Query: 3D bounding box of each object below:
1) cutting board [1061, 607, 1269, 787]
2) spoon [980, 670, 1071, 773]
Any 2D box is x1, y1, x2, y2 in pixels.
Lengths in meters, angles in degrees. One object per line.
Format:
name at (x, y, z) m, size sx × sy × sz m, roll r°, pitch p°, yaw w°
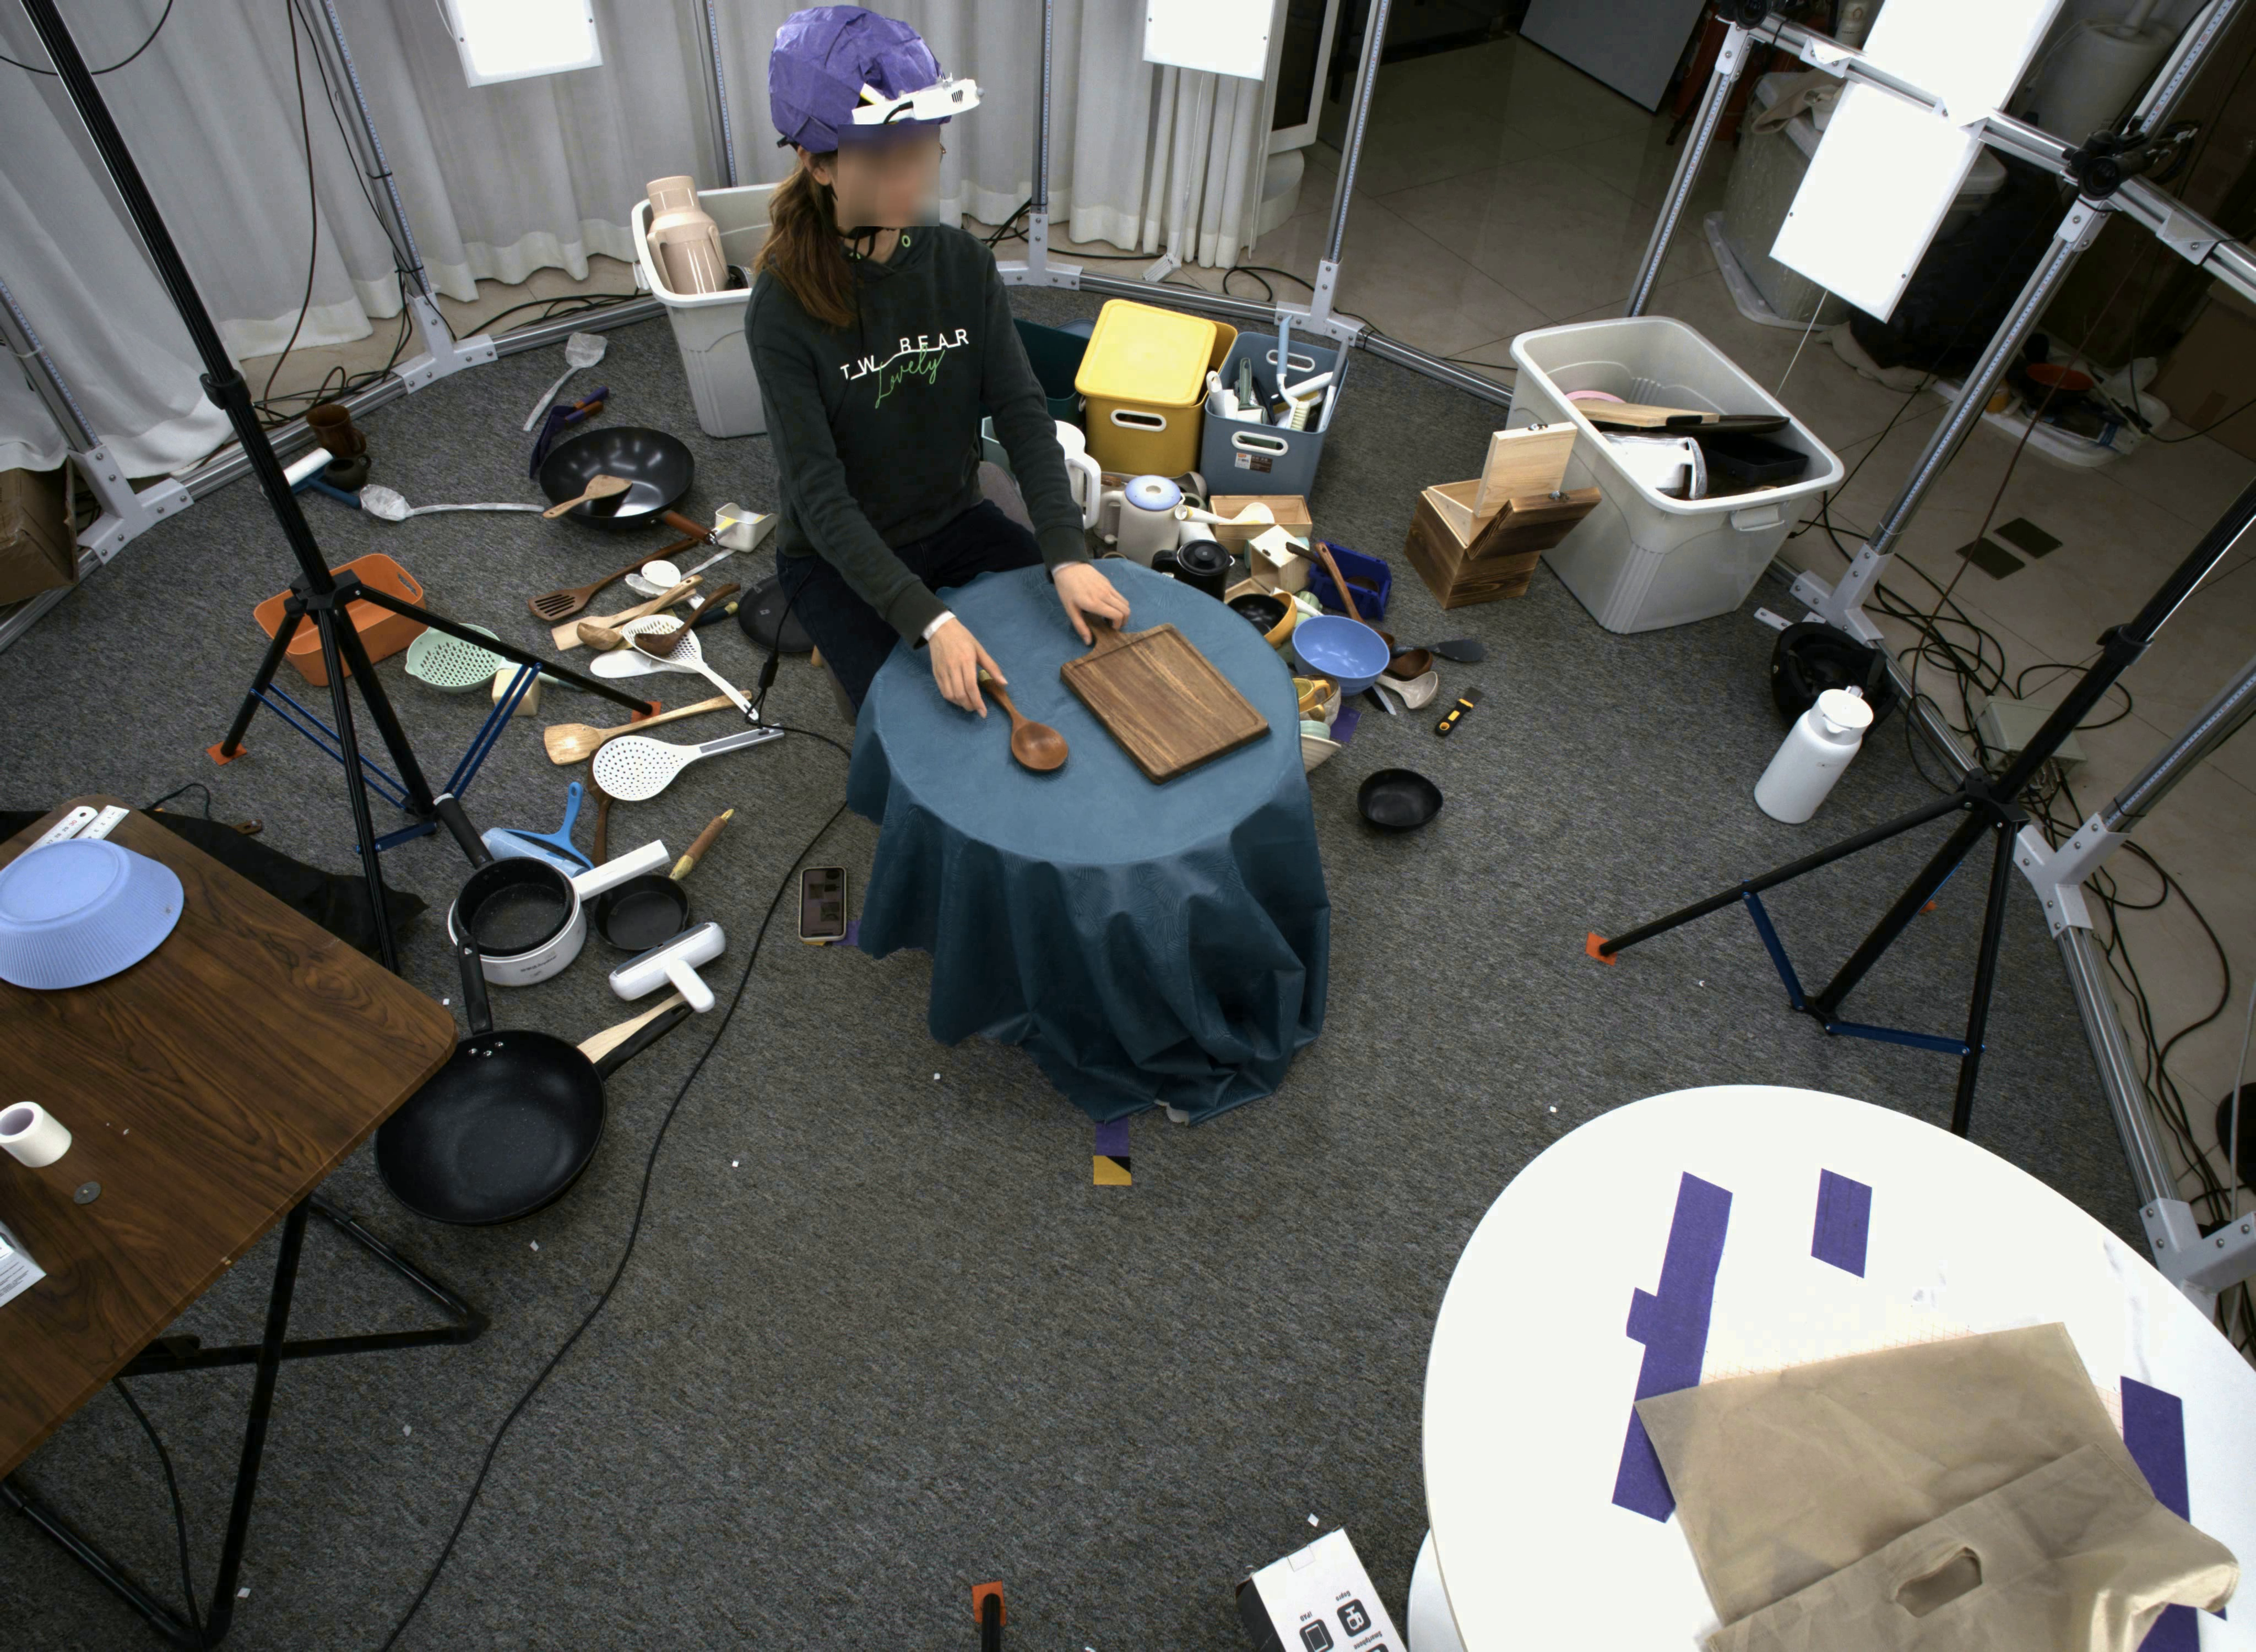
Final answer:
cutting board at (0.024, -0.210, 1.858) m, size 0.202 × 0.022 × 0.359 m, roll -25°, pitch 55°, yaw -22°
spoon at (-0.151, -0.147, 1.791) m, size 0.076 × 0.017 × 0.220 m, roll -23°, pitch 55°, yaw -20°
